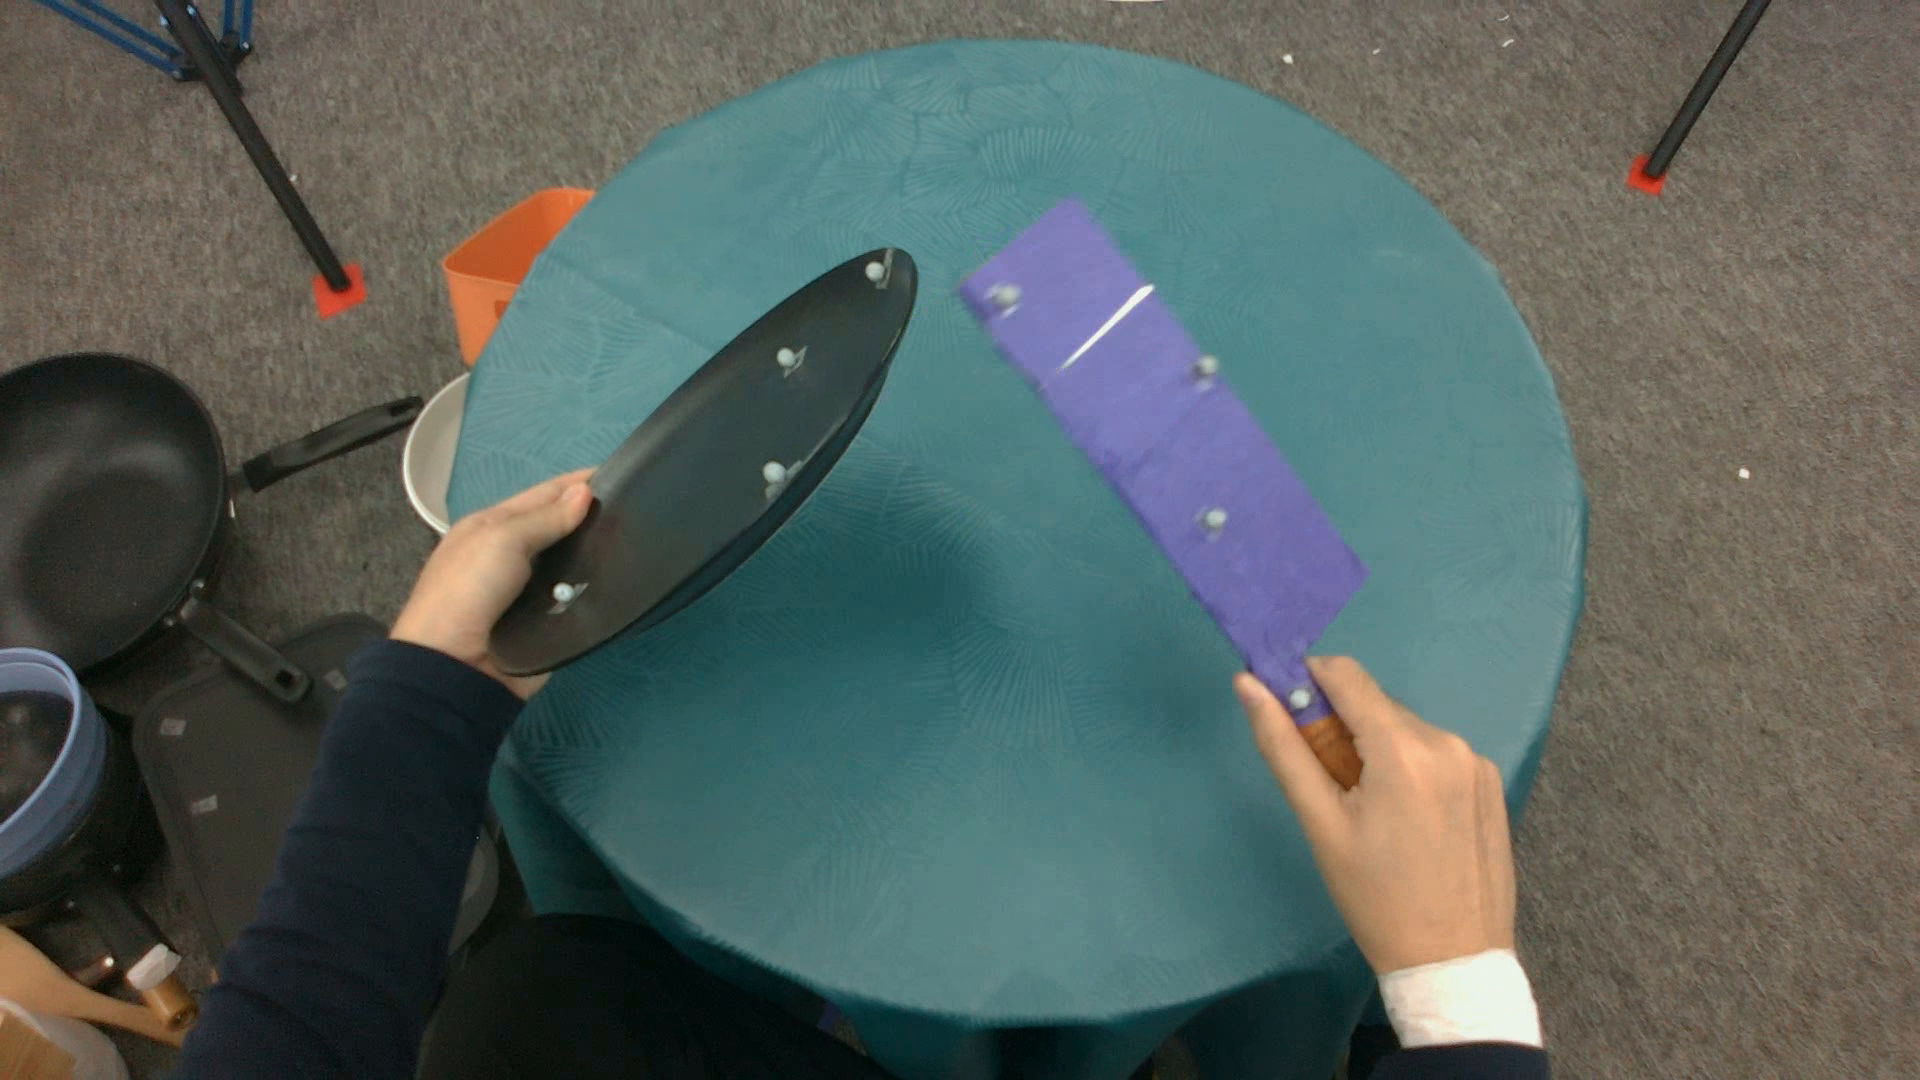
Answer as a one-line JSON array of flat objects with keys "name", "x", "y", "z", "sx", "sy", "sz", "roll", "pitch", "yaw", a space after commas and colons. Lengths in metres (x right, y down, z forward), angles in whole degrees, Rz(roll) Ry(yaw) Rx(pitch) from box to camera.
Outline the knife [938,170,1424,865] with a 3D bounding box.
[{"name": "knife", "x": 0.112, "y": -0.014, "z": 0.575, "sx": 0.104, "sy": 0.032, "sz": 0.315, "roll": -40, "pitch": 99, "yaw": -35}]

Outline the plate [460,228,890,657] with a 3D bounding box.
[{"name": "plate", "x": -0.118, "y": -0.041, "z": 0.588, "sx": 0.023, "sy": 0.243, "sz": 0.245, "roll": 47, "pitch": 62, "yaw": -26}]
